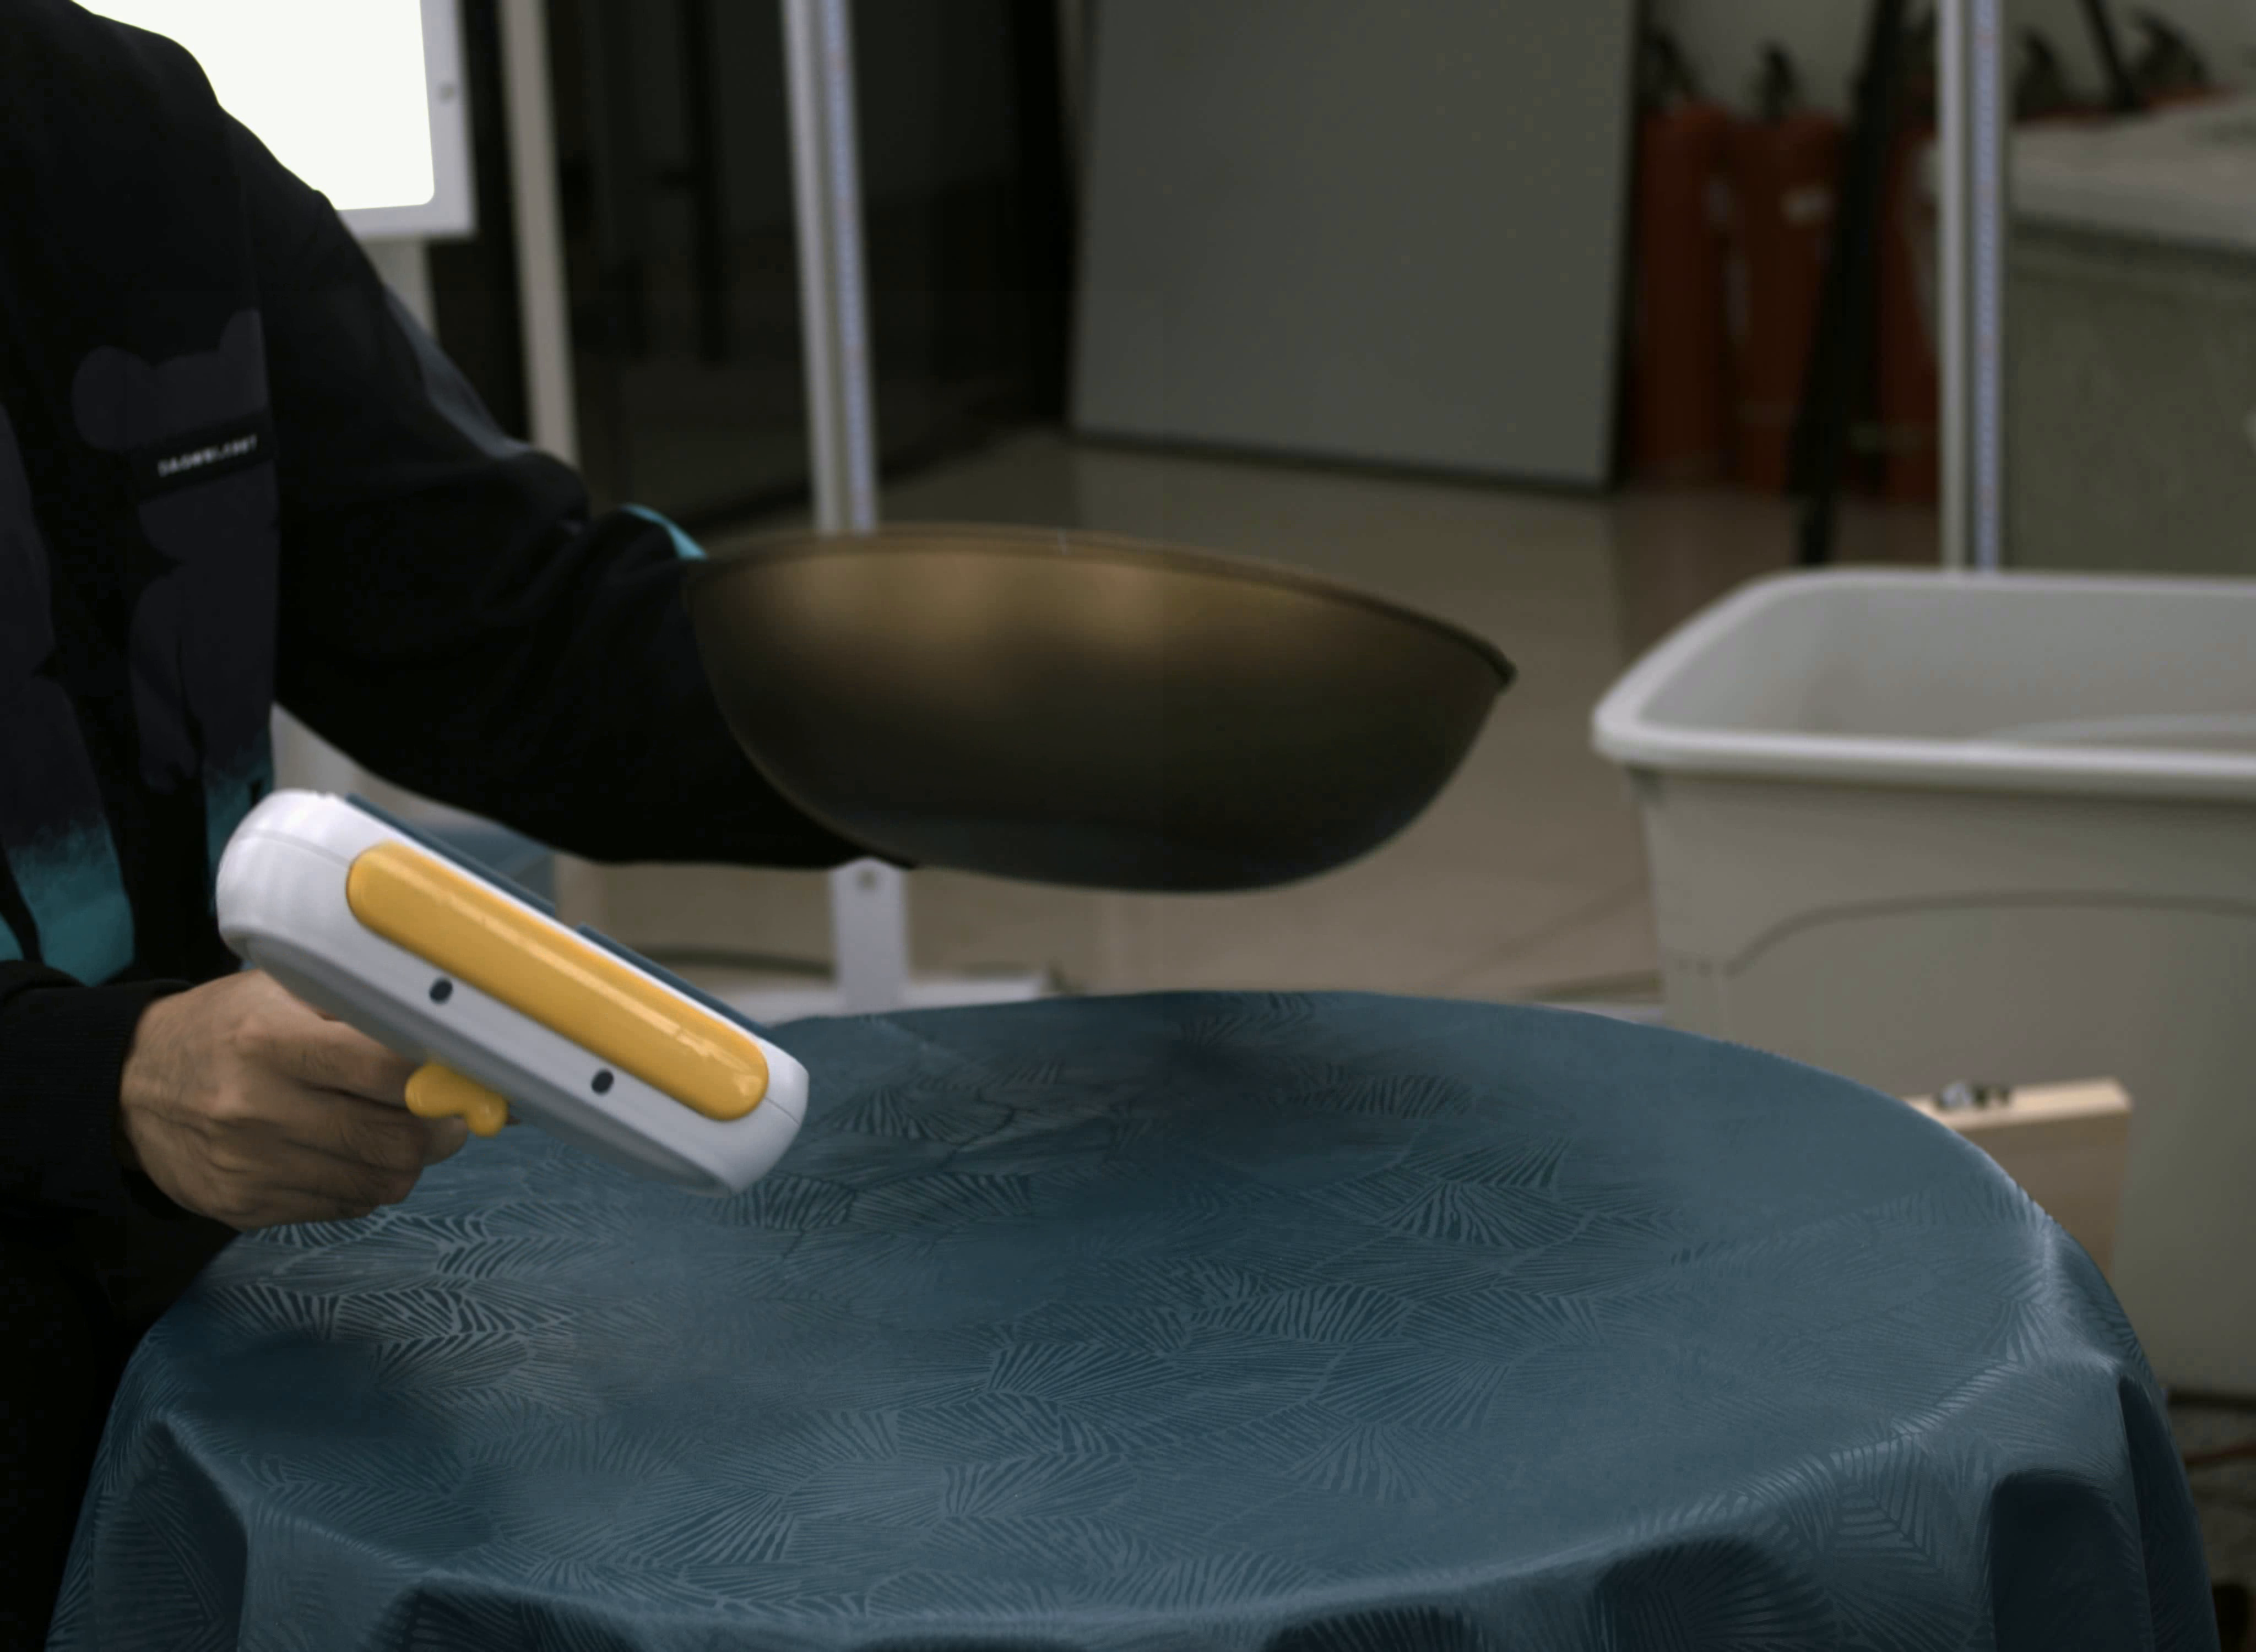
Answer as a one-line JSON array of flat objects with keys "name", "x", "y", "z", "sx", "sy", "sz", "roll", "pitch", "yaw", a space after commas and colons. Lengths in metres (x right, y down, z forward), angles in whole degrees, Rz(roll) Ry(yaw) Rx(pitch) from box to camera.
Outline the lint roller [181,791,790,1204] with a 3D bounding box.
[{"name": "lint roller", "x": -0.217, "y": 0.069, "z": 1.642, "sx": 0.189, "sy": 0.075, "sz": 0.194, "roll": 25, "pitch": -24, "yaw": -21}]

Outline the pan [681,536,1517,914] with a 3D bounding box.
[{"name": "pan", "x": -0.002, "y": -0.008, "z": 1.904, "sx": 0.286, "sy": 0.088, "sz": 0.461, "roll": 4, "pitch": -10, "yaw": 9}]
